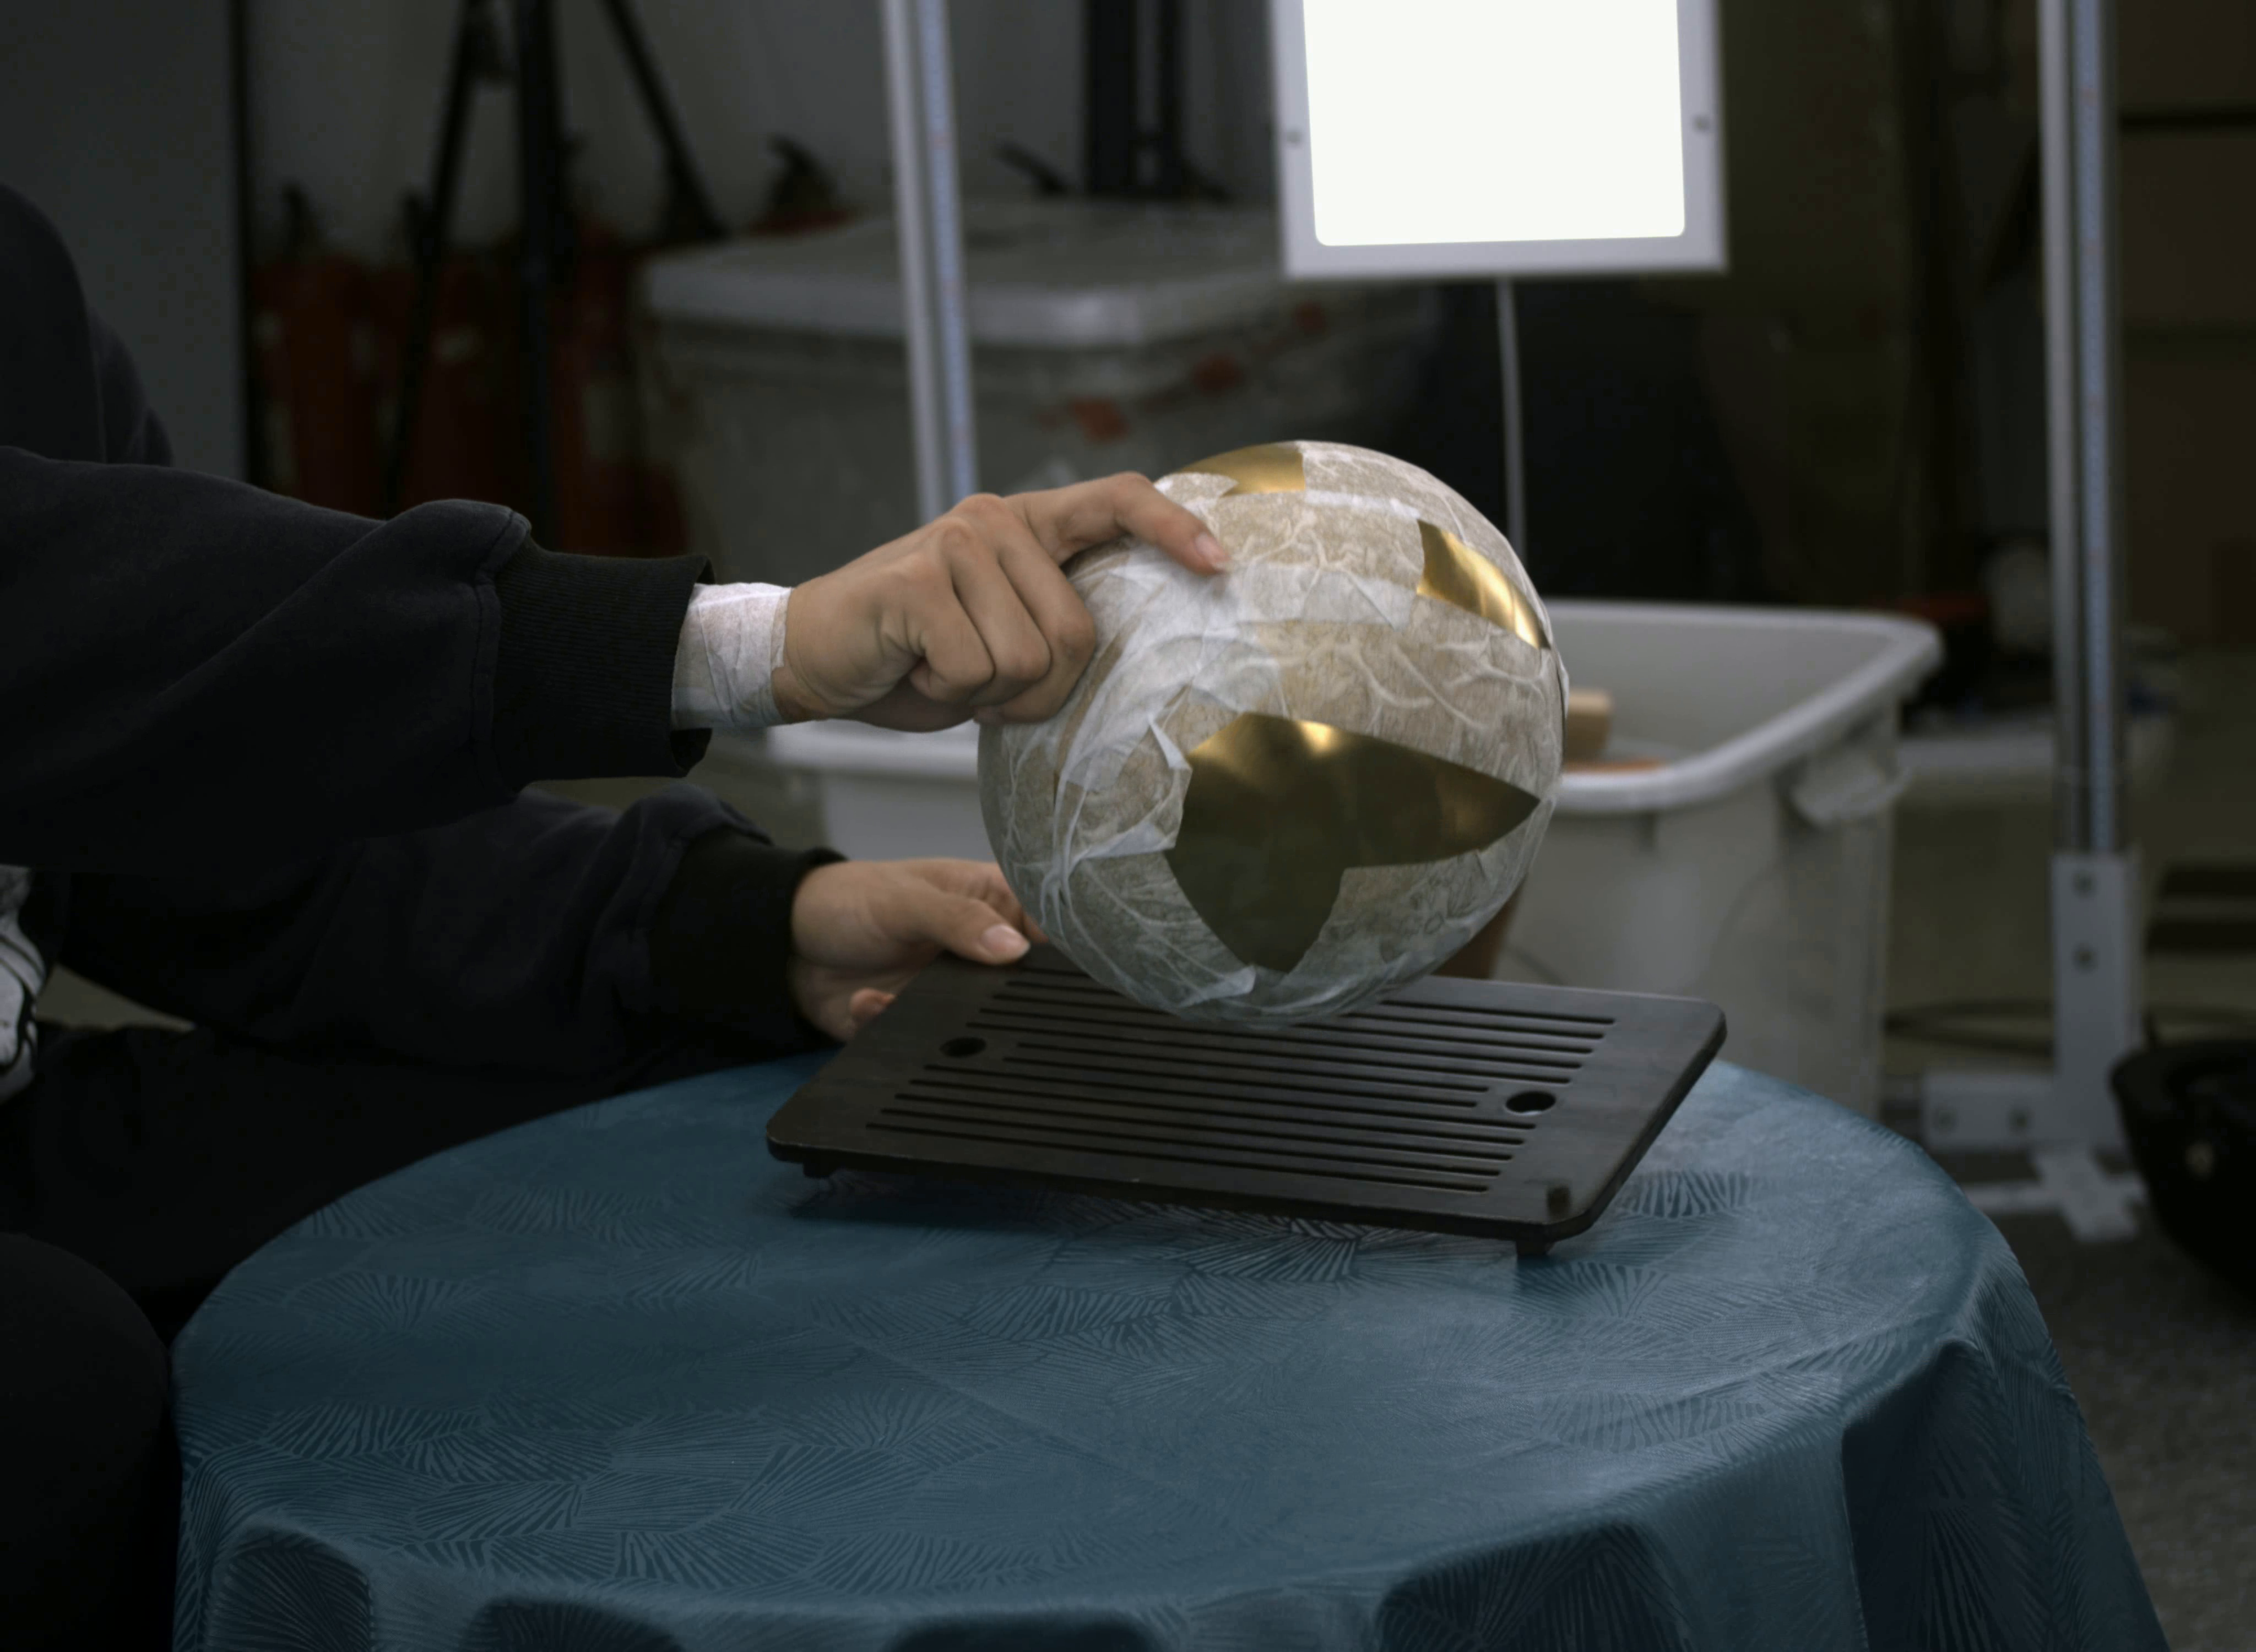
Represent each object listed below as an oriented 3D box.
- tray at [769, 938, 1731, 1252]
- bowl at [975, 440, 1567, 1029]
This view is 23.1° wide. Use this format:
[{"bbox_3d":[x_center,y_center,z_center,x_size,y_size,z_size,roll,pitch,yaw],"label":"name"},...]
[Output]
[{"bbox_3d":[0.043,0.092,1.914,0.311,0.018,0.167,4,26,26],"label":"tray"},{"bbox_3d":[0.057,-0.013,1.789,0.211,0.216,0.095,-8,27,-15],"label":"bowl"}]
